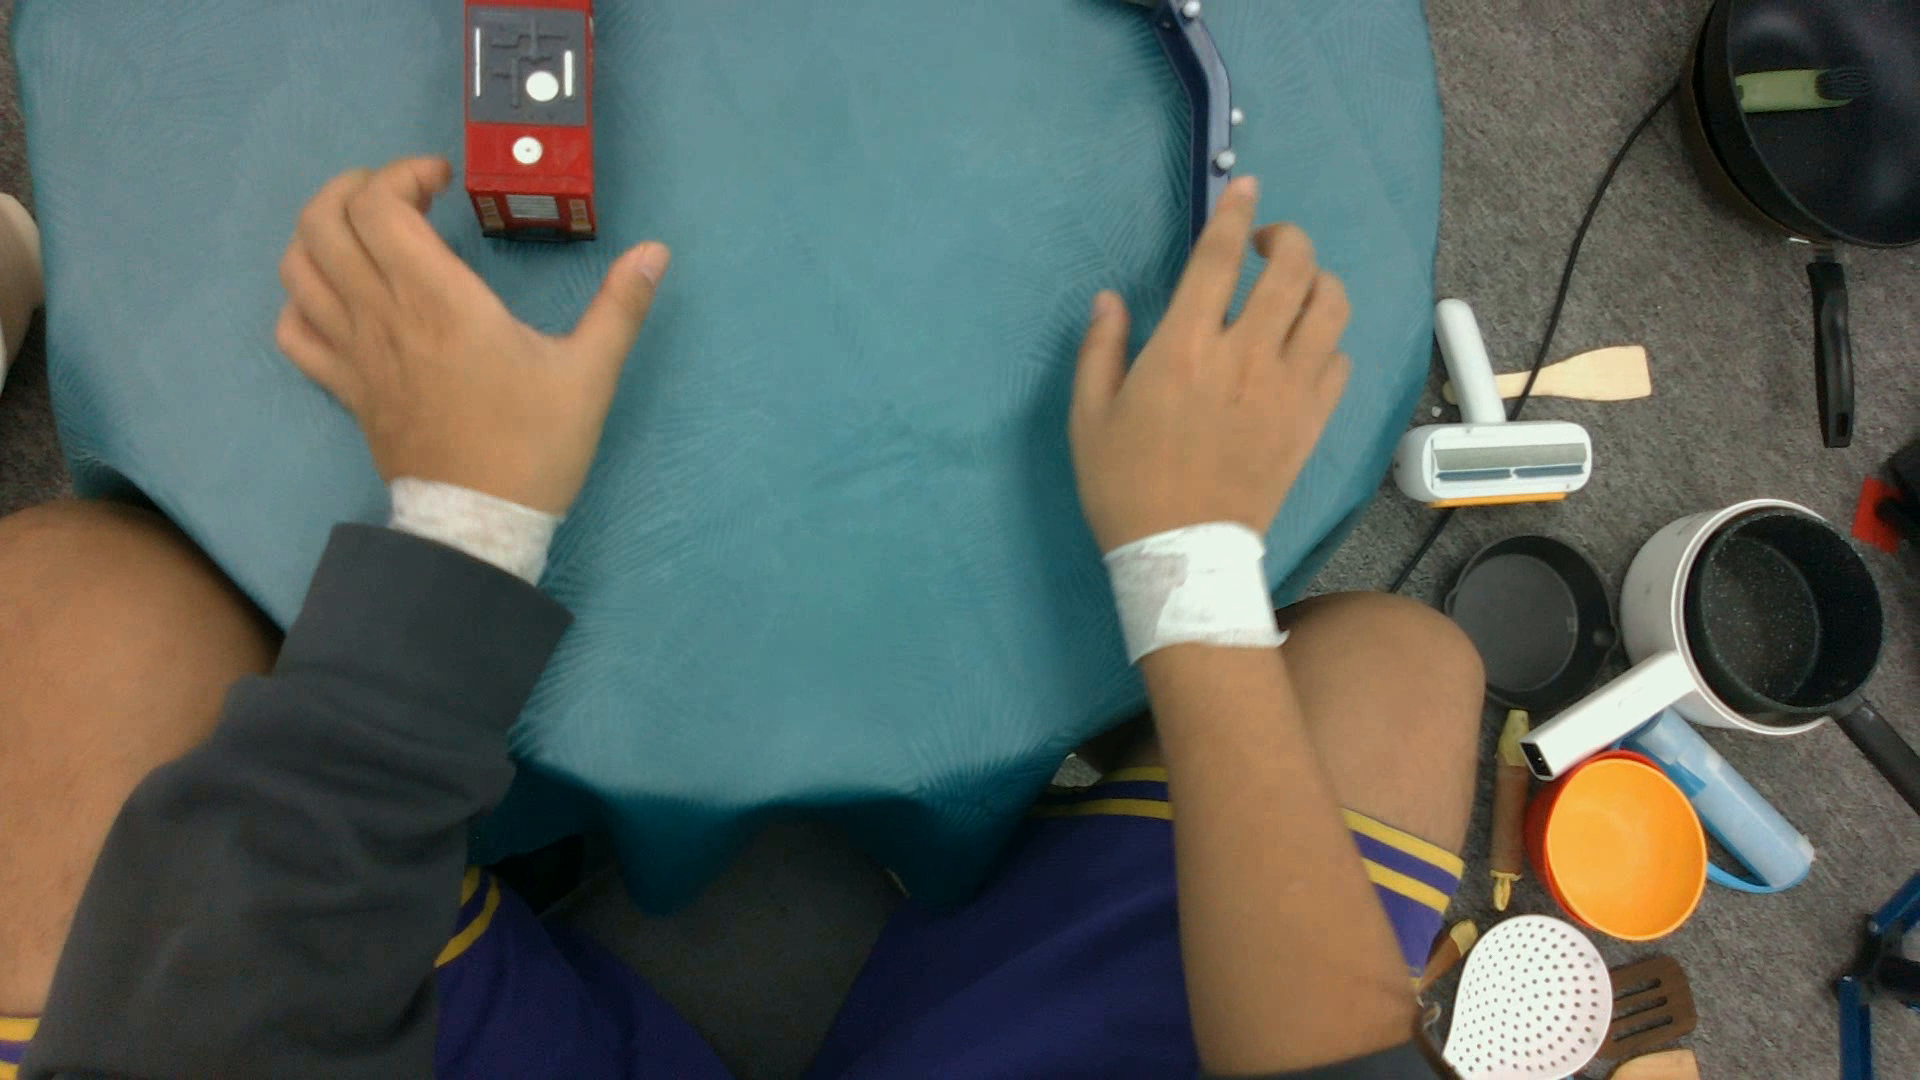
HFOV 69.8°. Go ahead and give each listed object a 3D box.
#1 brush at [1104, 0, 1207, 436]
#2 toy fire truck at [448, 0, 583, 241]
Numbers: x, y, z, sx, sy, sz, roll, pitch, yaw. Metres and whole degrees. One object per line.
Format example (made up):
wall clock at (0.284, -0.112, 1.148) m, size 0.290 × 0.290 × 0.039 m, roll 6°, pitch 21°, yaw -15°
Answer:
brush at (0.107, -0.184, 0.614) m, size 0.096 × 0.033 × 0.273 m, roll -7°, pitch 85°, yaw -13°
toy fire truck at (-0.176, -0.204, 0.540) m, size 0.054 × 0.070 × 0.168 m, roll -3°, pitch 86°, yaw -13°
